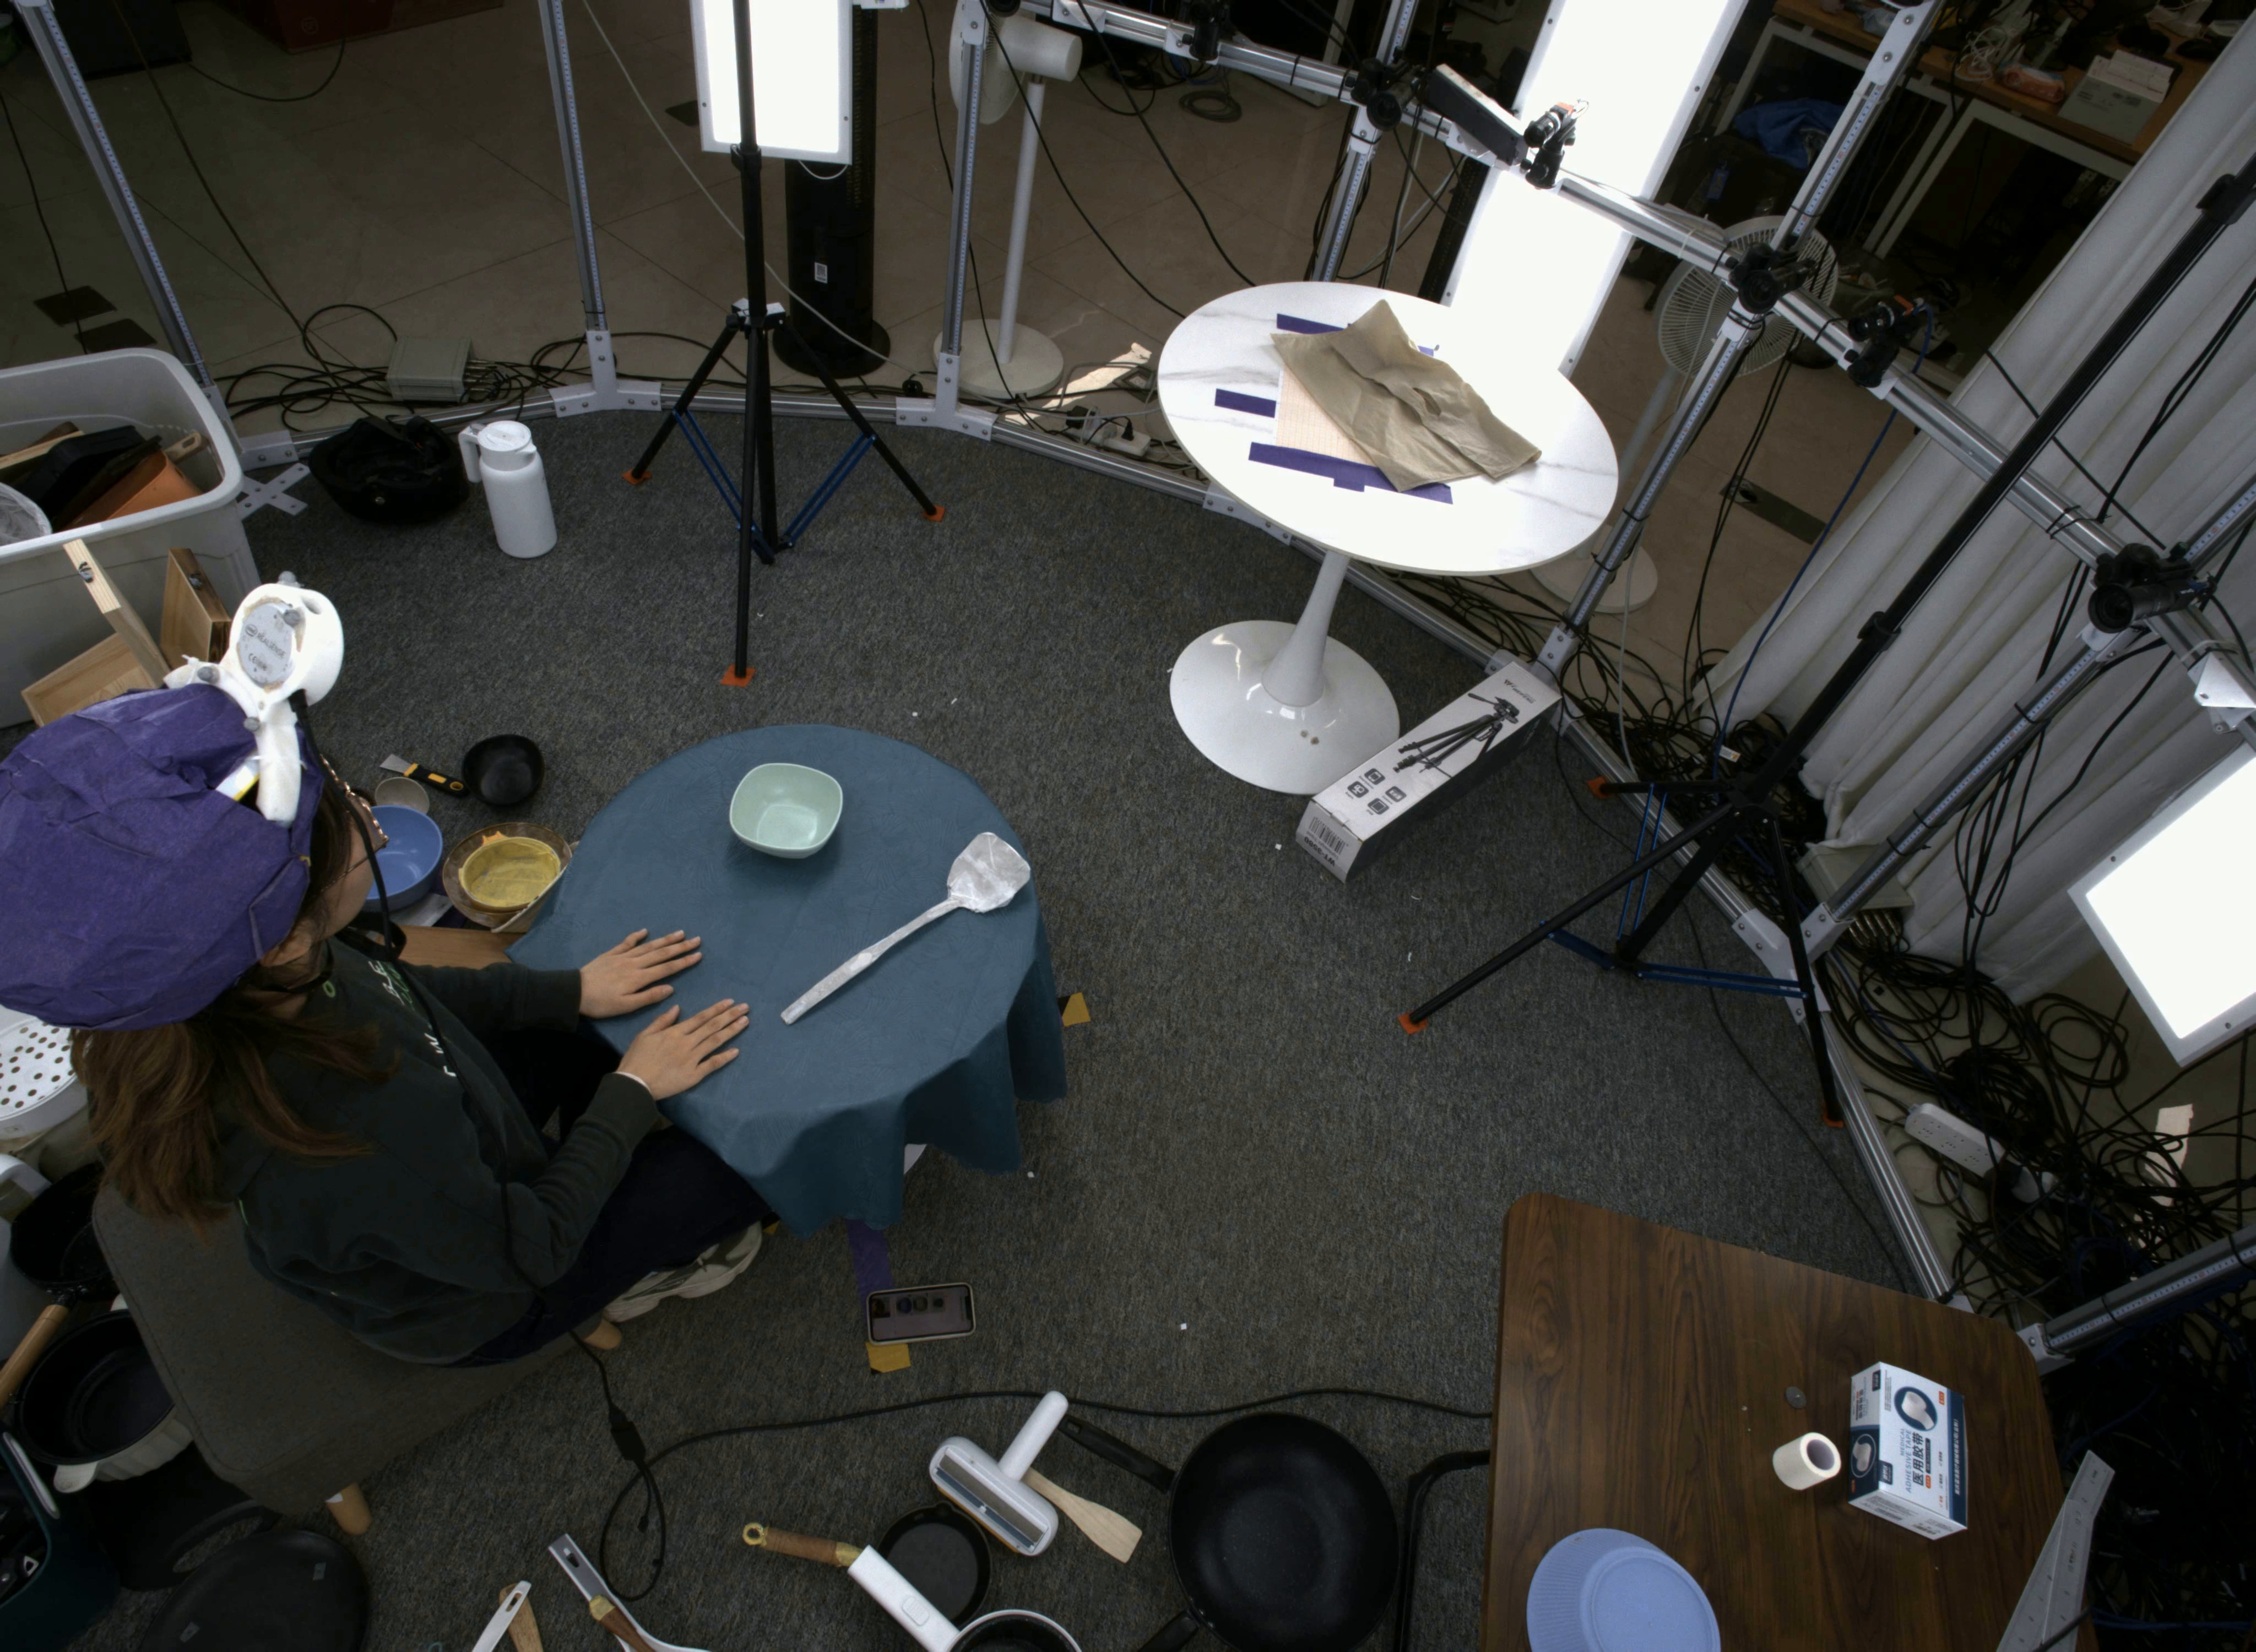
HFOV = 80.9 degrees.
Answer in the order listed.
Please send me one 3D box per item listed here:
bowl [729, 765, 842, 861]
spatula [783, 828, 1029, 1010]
[{"bbox_3d":[-0.447,-0.009,1.694,0.151,0.060,0.148,9,50,-9],"label":"bowl"},{"bbox_3d":[-0.282,0.124,1.648,0.366,0.045,0.096,-35,70,-33],"label":"spatula"}]
